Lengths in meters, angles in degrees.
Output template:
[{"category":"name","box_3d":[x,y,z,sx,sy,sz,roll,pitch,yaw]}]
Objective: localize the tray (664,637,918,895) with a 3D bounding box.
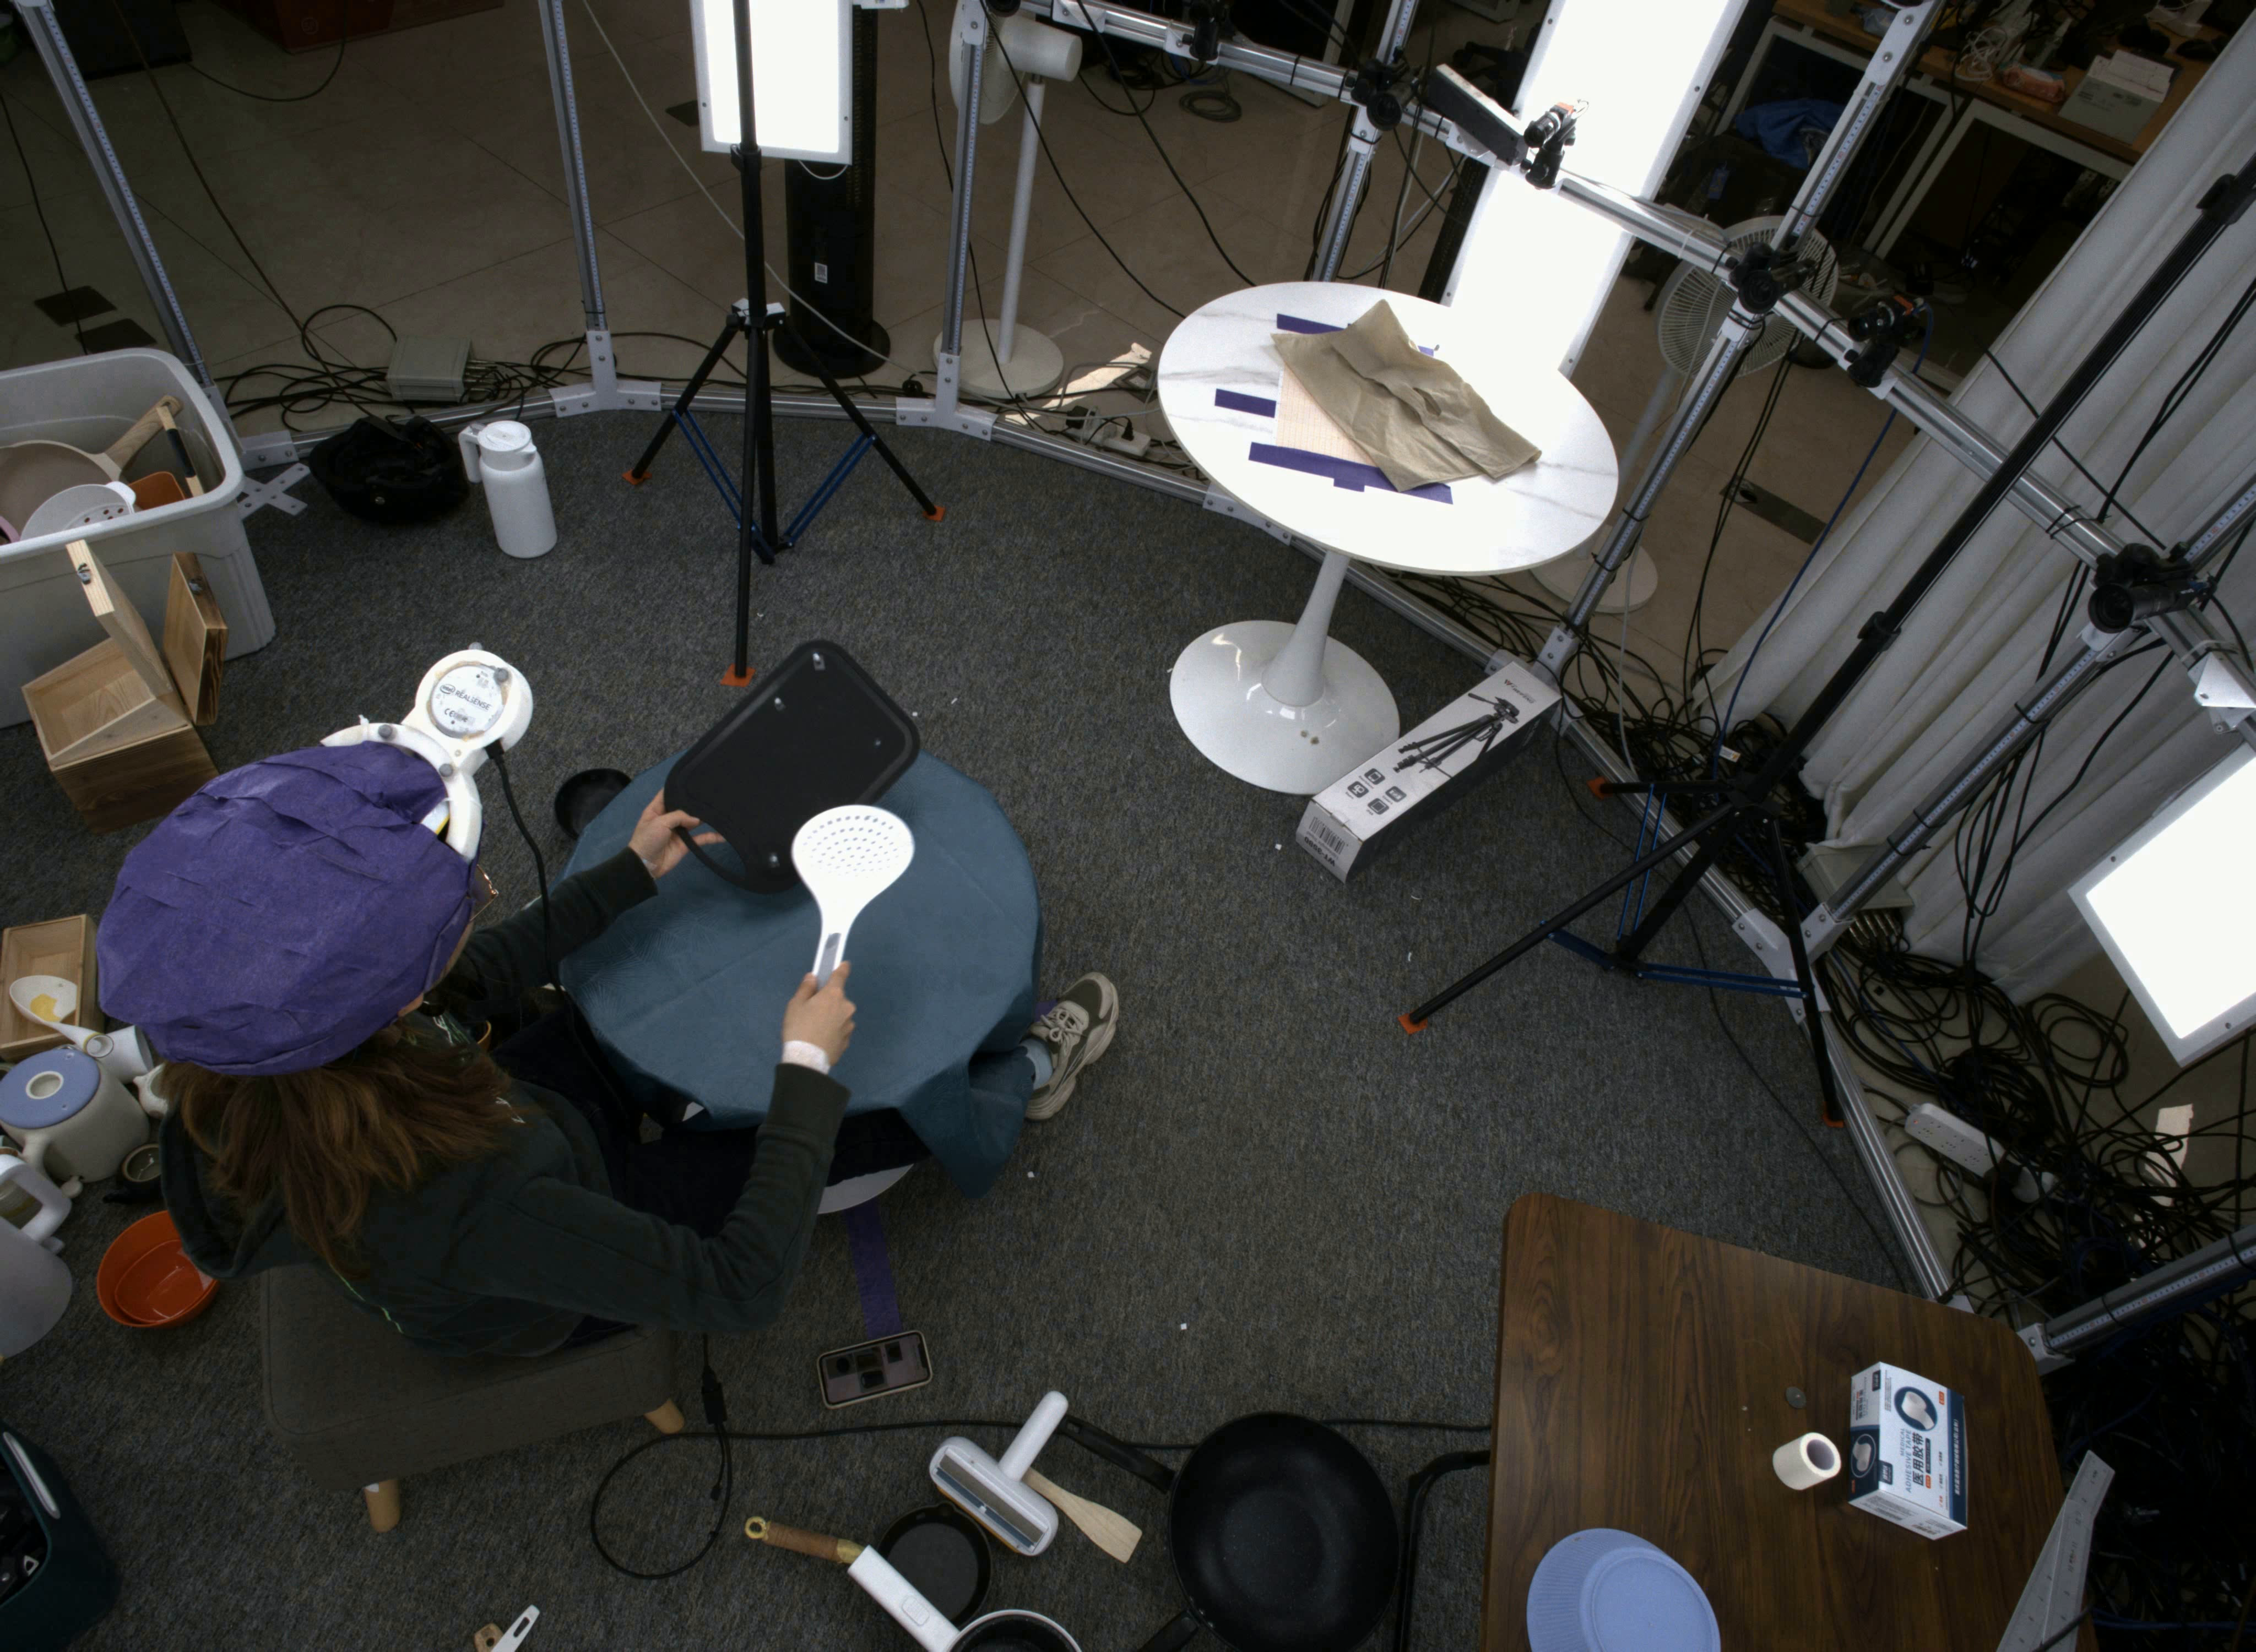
[{"category":"tray","box_3d":[-0.425,-0.073,1.640,0.216,0.009,0.325,48,65,-17]}]

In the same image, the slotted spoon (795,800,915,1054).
[{"category":"slotted spoon","box_3d":[-0.317,0.100,1.430,0.135,0.047,0.342,5,42,-3]}]
